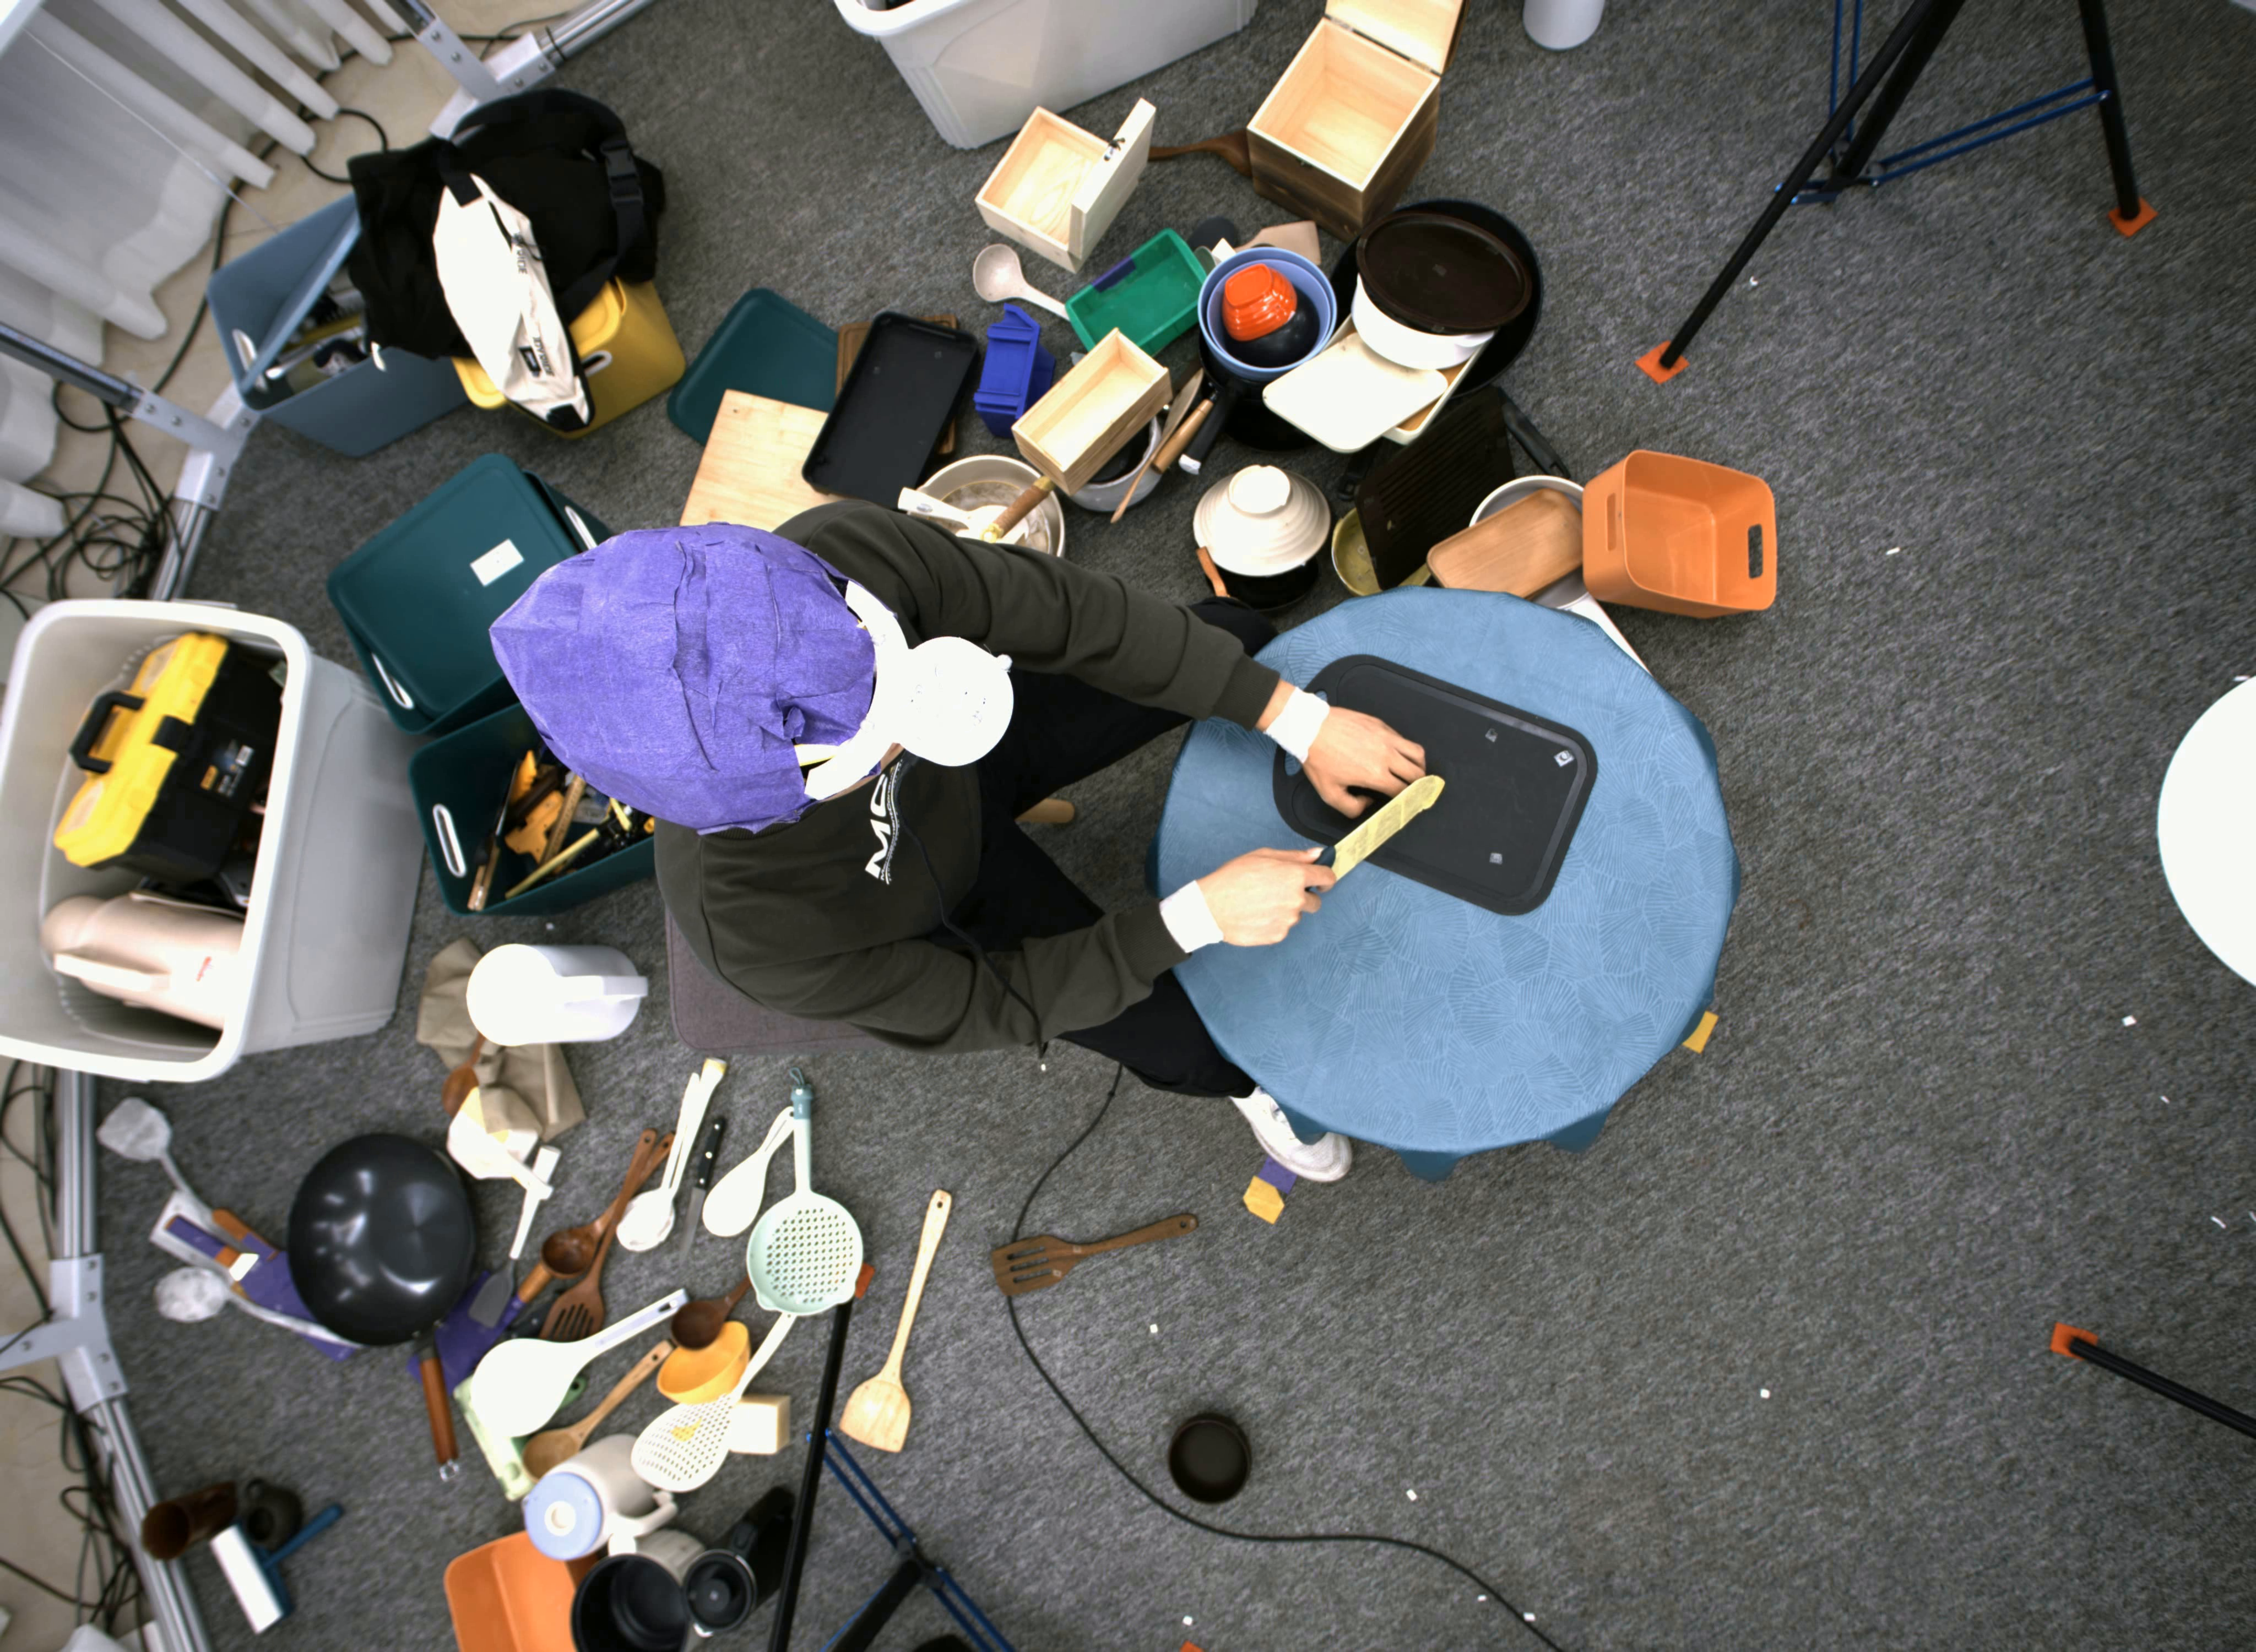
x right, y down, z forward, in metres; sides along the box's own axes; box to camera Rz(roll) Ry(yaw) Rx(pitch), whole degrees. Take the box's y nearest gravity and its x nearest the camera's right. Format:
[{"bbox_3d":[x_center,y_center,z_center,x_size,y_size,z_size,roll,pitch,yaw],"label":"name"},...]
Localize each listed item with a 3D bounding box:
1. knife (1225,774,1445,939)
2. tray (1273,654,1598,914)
[{"bbox_3d":[0.215,0.030,1.401,0.287,0.083,0.027,-34,59,-12],"label":"knife"},{"bbox_3d":[0.316,-0.051,1.454,0.325,0.010,0.211,22,91,11],"label":"tray"}]
